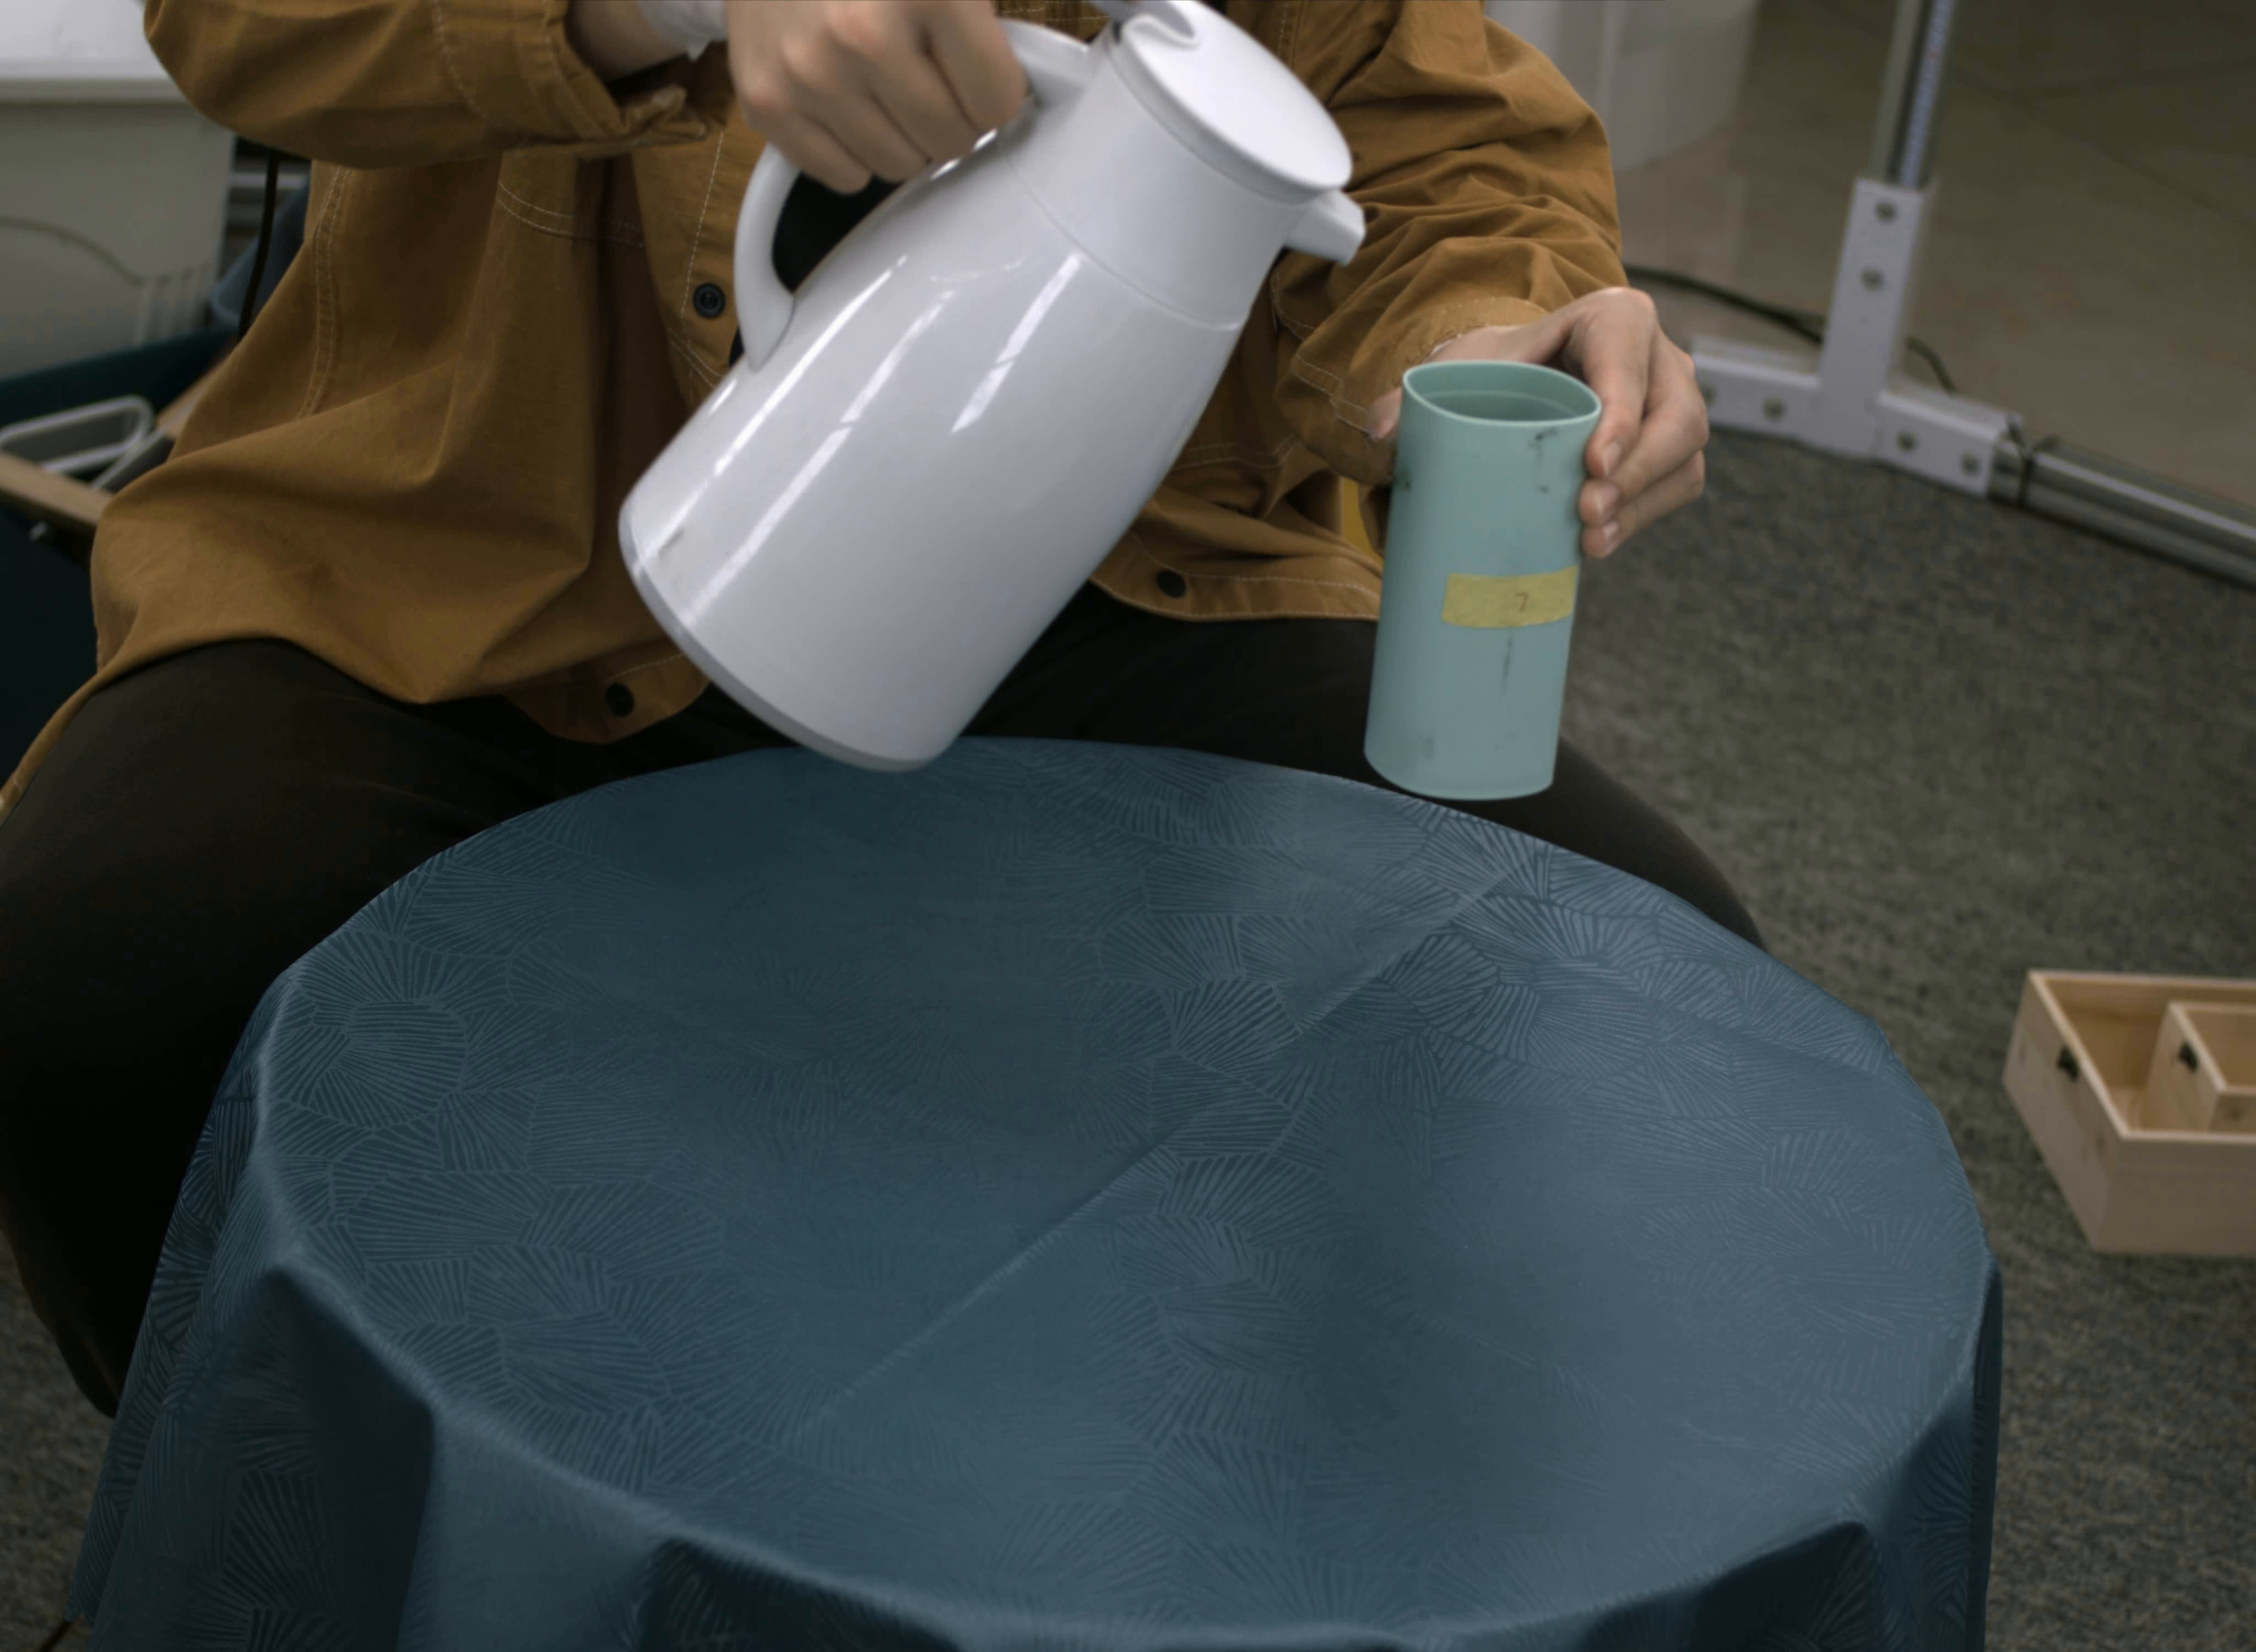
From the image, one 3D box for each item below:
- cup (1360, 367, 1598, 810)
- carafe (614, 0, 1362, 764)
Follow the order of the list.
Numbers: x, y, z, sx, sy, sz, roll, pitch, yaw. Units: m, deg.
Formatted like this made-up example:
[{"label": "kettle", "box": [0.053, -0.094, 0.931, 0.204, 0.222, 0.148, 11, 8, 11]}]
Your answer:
[{"label": "cup", "box": [0.113, -0.078, 1.735, 0.066, 0.132, 0.067, 5, 22, -2]}, {"label": "carafe", "box": [-0.054, -0.160, 1.671, 0.166, 0.248, 0.133, 32, 26, -20]}]
